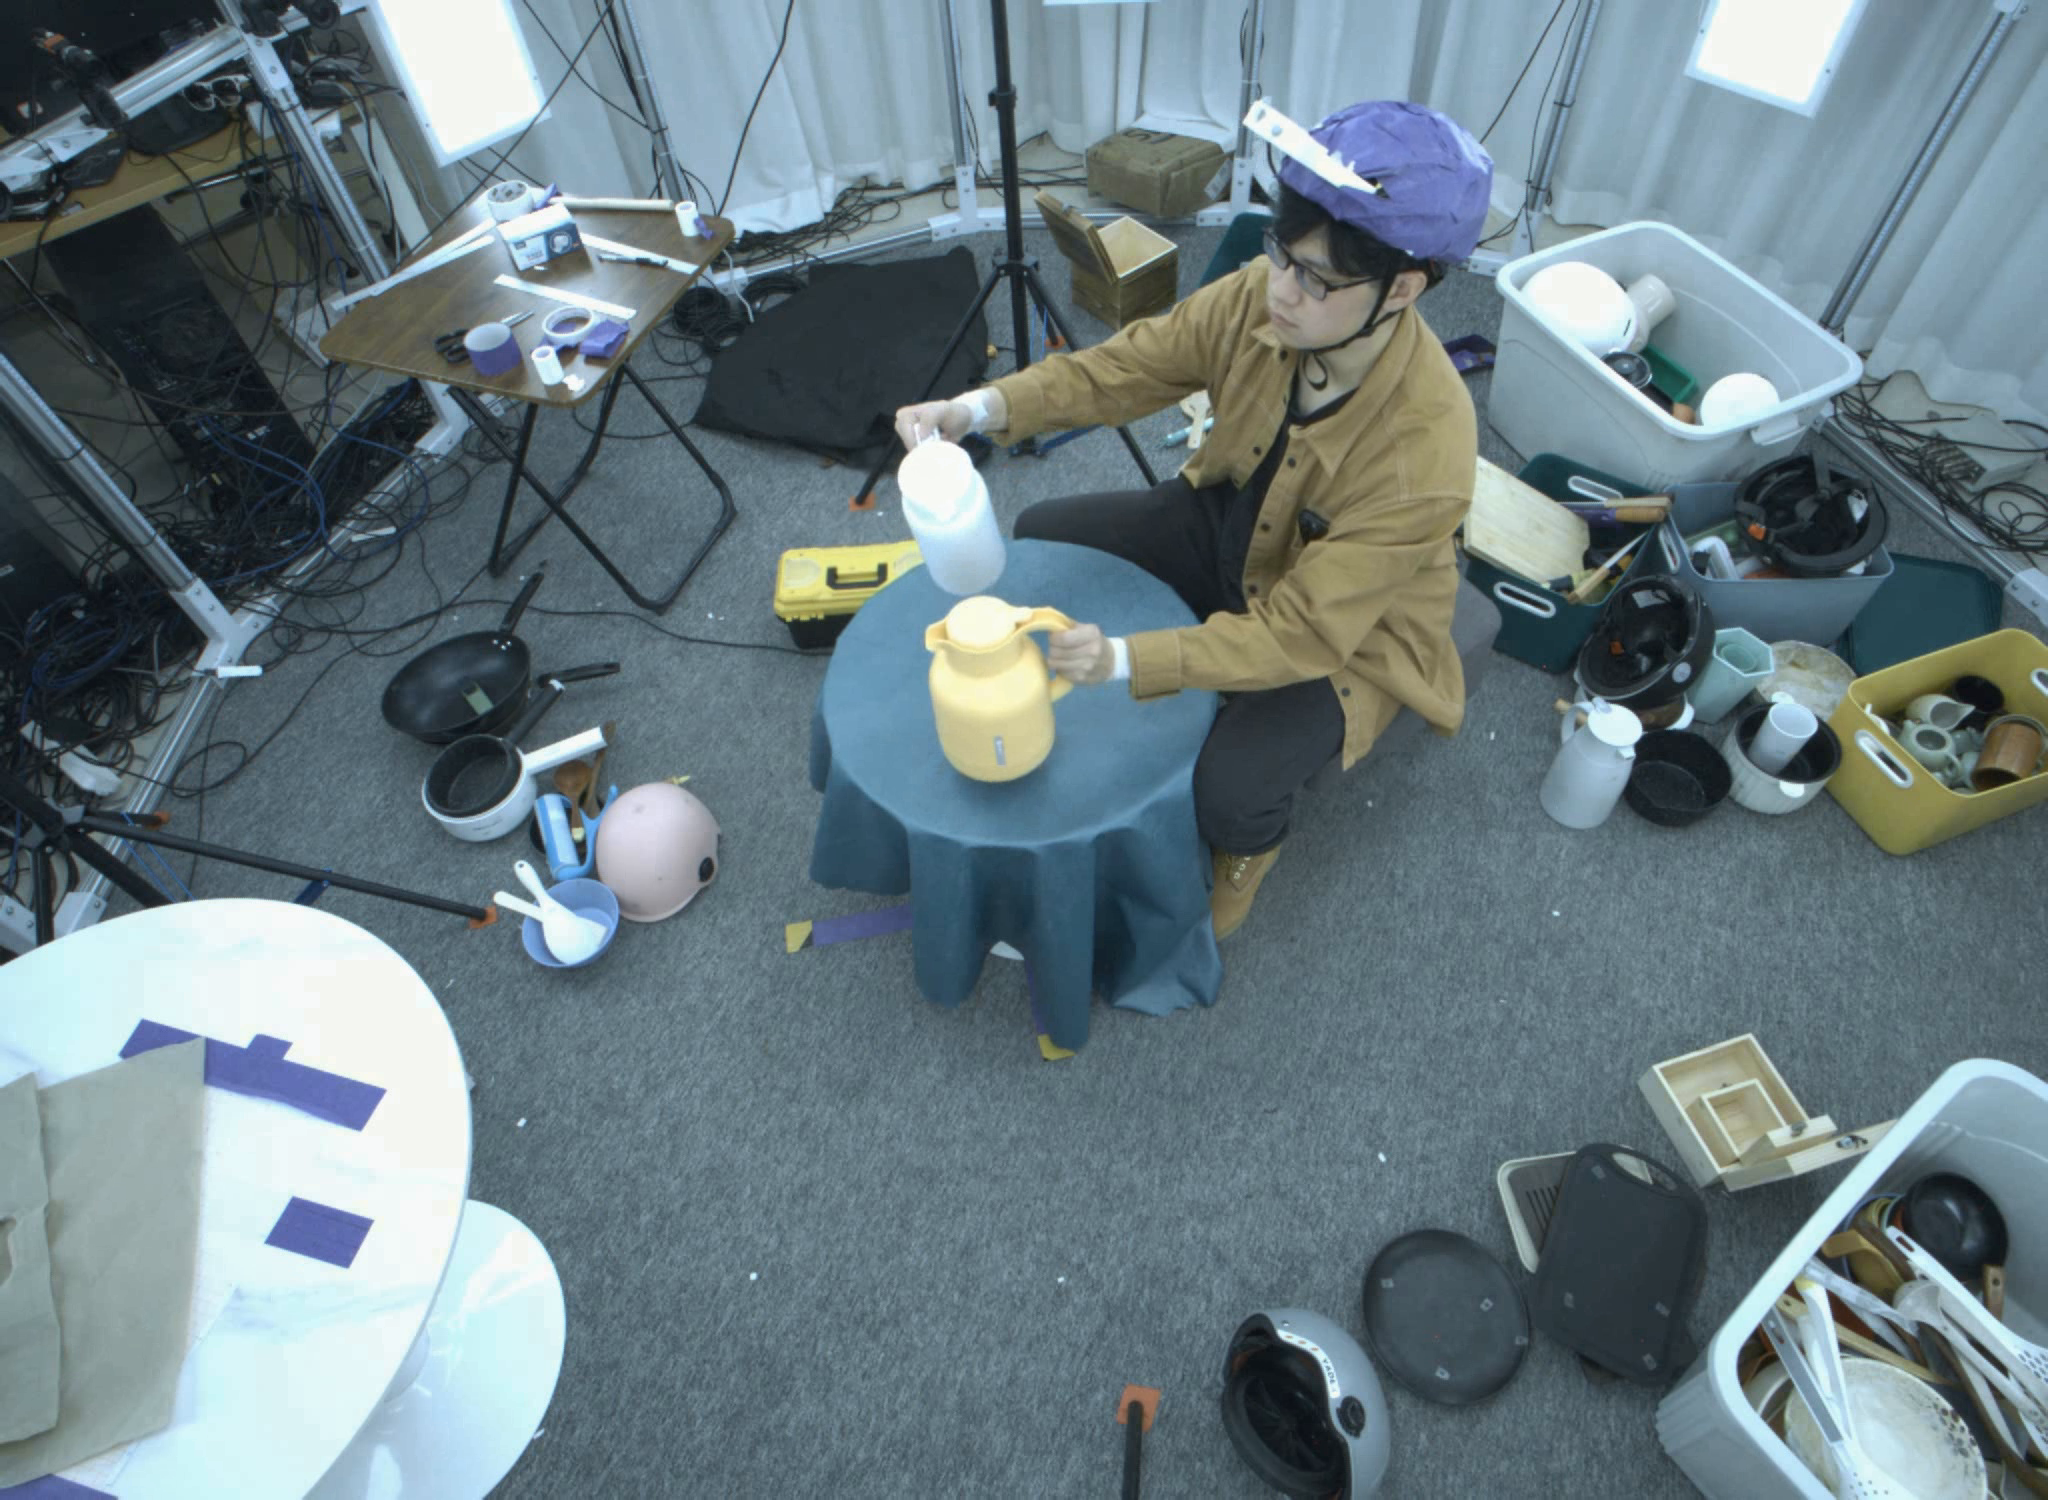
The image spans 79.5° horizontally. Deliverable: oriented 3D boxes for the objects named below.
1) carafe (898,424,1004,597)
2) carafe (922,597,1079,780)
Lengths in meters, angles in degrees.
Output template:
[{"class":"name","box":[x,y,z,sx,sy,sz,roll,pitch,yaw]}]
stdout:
[{"class":"carafe","box":[-0.107,-0.333,1.706,0.123,0.272,0.171,-15,71,4]},{"class":"carafe","box":[-0.027,-0.089,1.639,0.202,0.264,0.161,-10,54,0]}]
